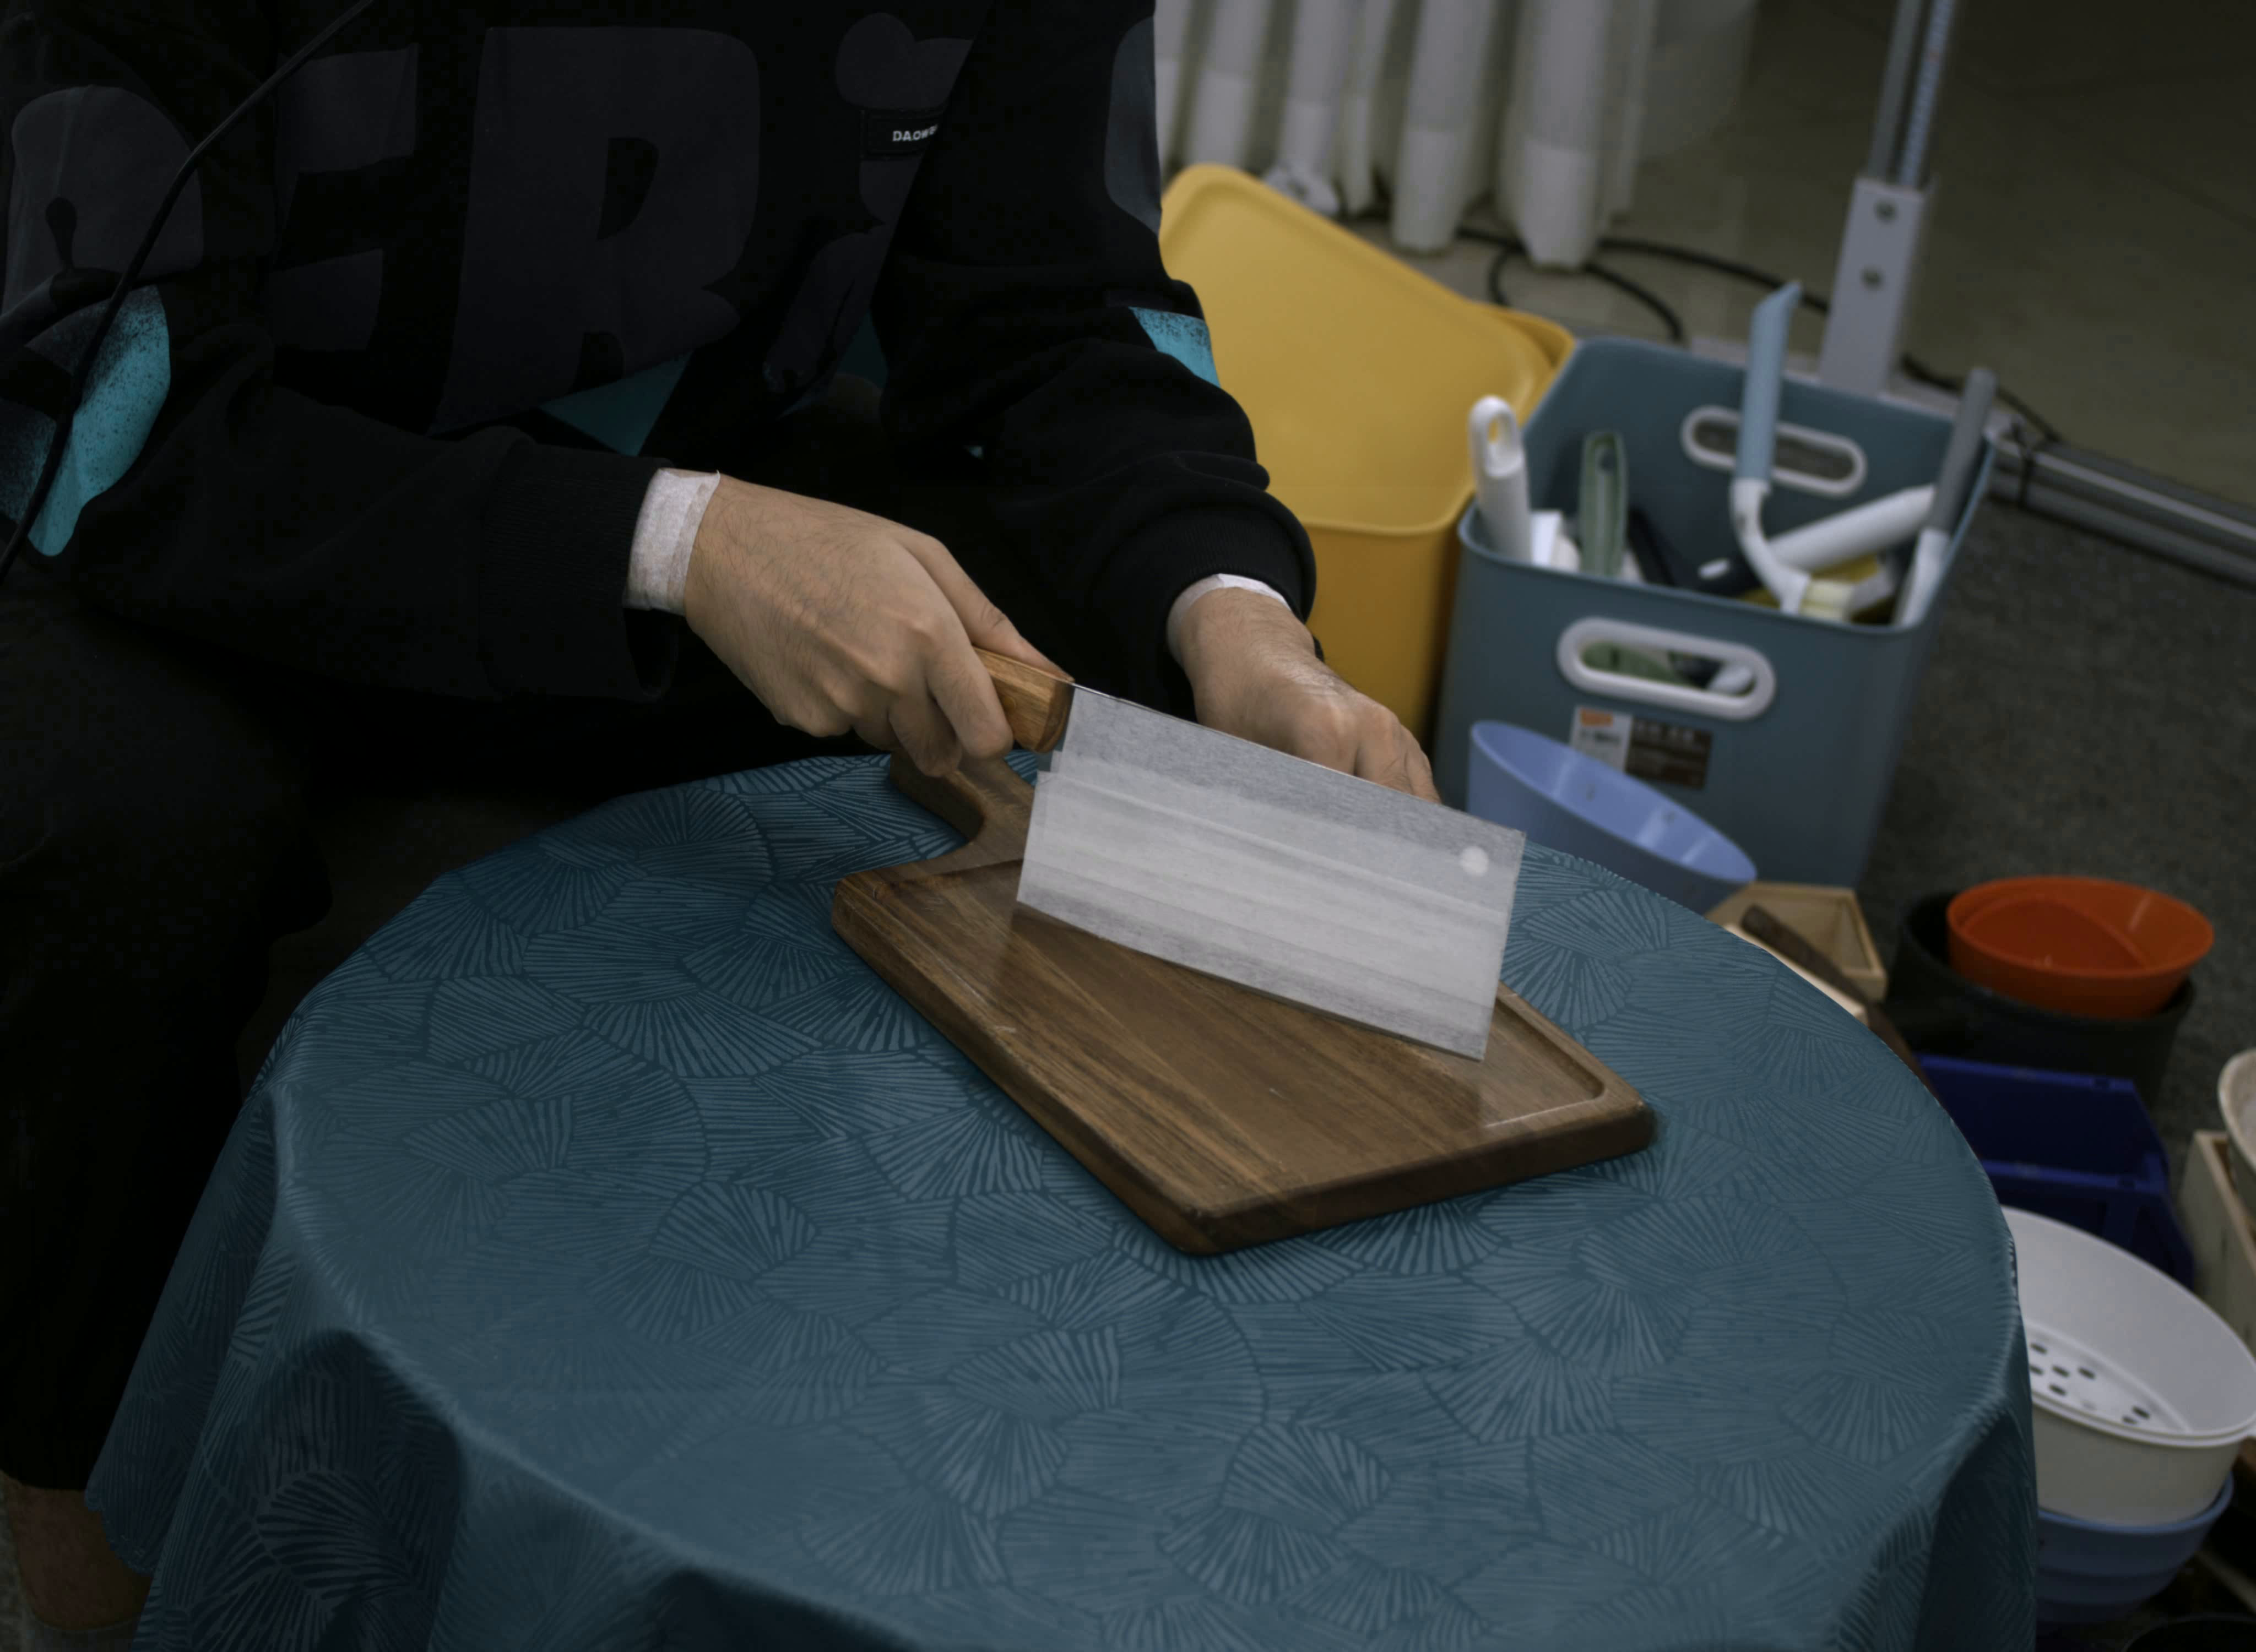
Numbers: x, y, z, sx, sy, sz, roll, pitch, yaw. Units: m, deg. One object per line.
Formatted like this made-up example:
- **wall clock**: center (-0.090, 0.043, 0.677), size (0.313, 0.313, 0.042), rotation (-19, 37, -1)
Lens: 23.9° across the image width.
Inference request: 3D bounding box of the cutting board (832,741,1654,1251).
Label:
- **cutting board**: center (0.012, 0.048, 1.938), size (0.200, 0.023, 0.355), rotation (-10, 29, -31)

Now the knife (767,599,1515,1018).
- **knife**: center (-0.002, -0.004, 1.909), size (0.307, 0.093, 0.021), rotation (19, 24, 23)
